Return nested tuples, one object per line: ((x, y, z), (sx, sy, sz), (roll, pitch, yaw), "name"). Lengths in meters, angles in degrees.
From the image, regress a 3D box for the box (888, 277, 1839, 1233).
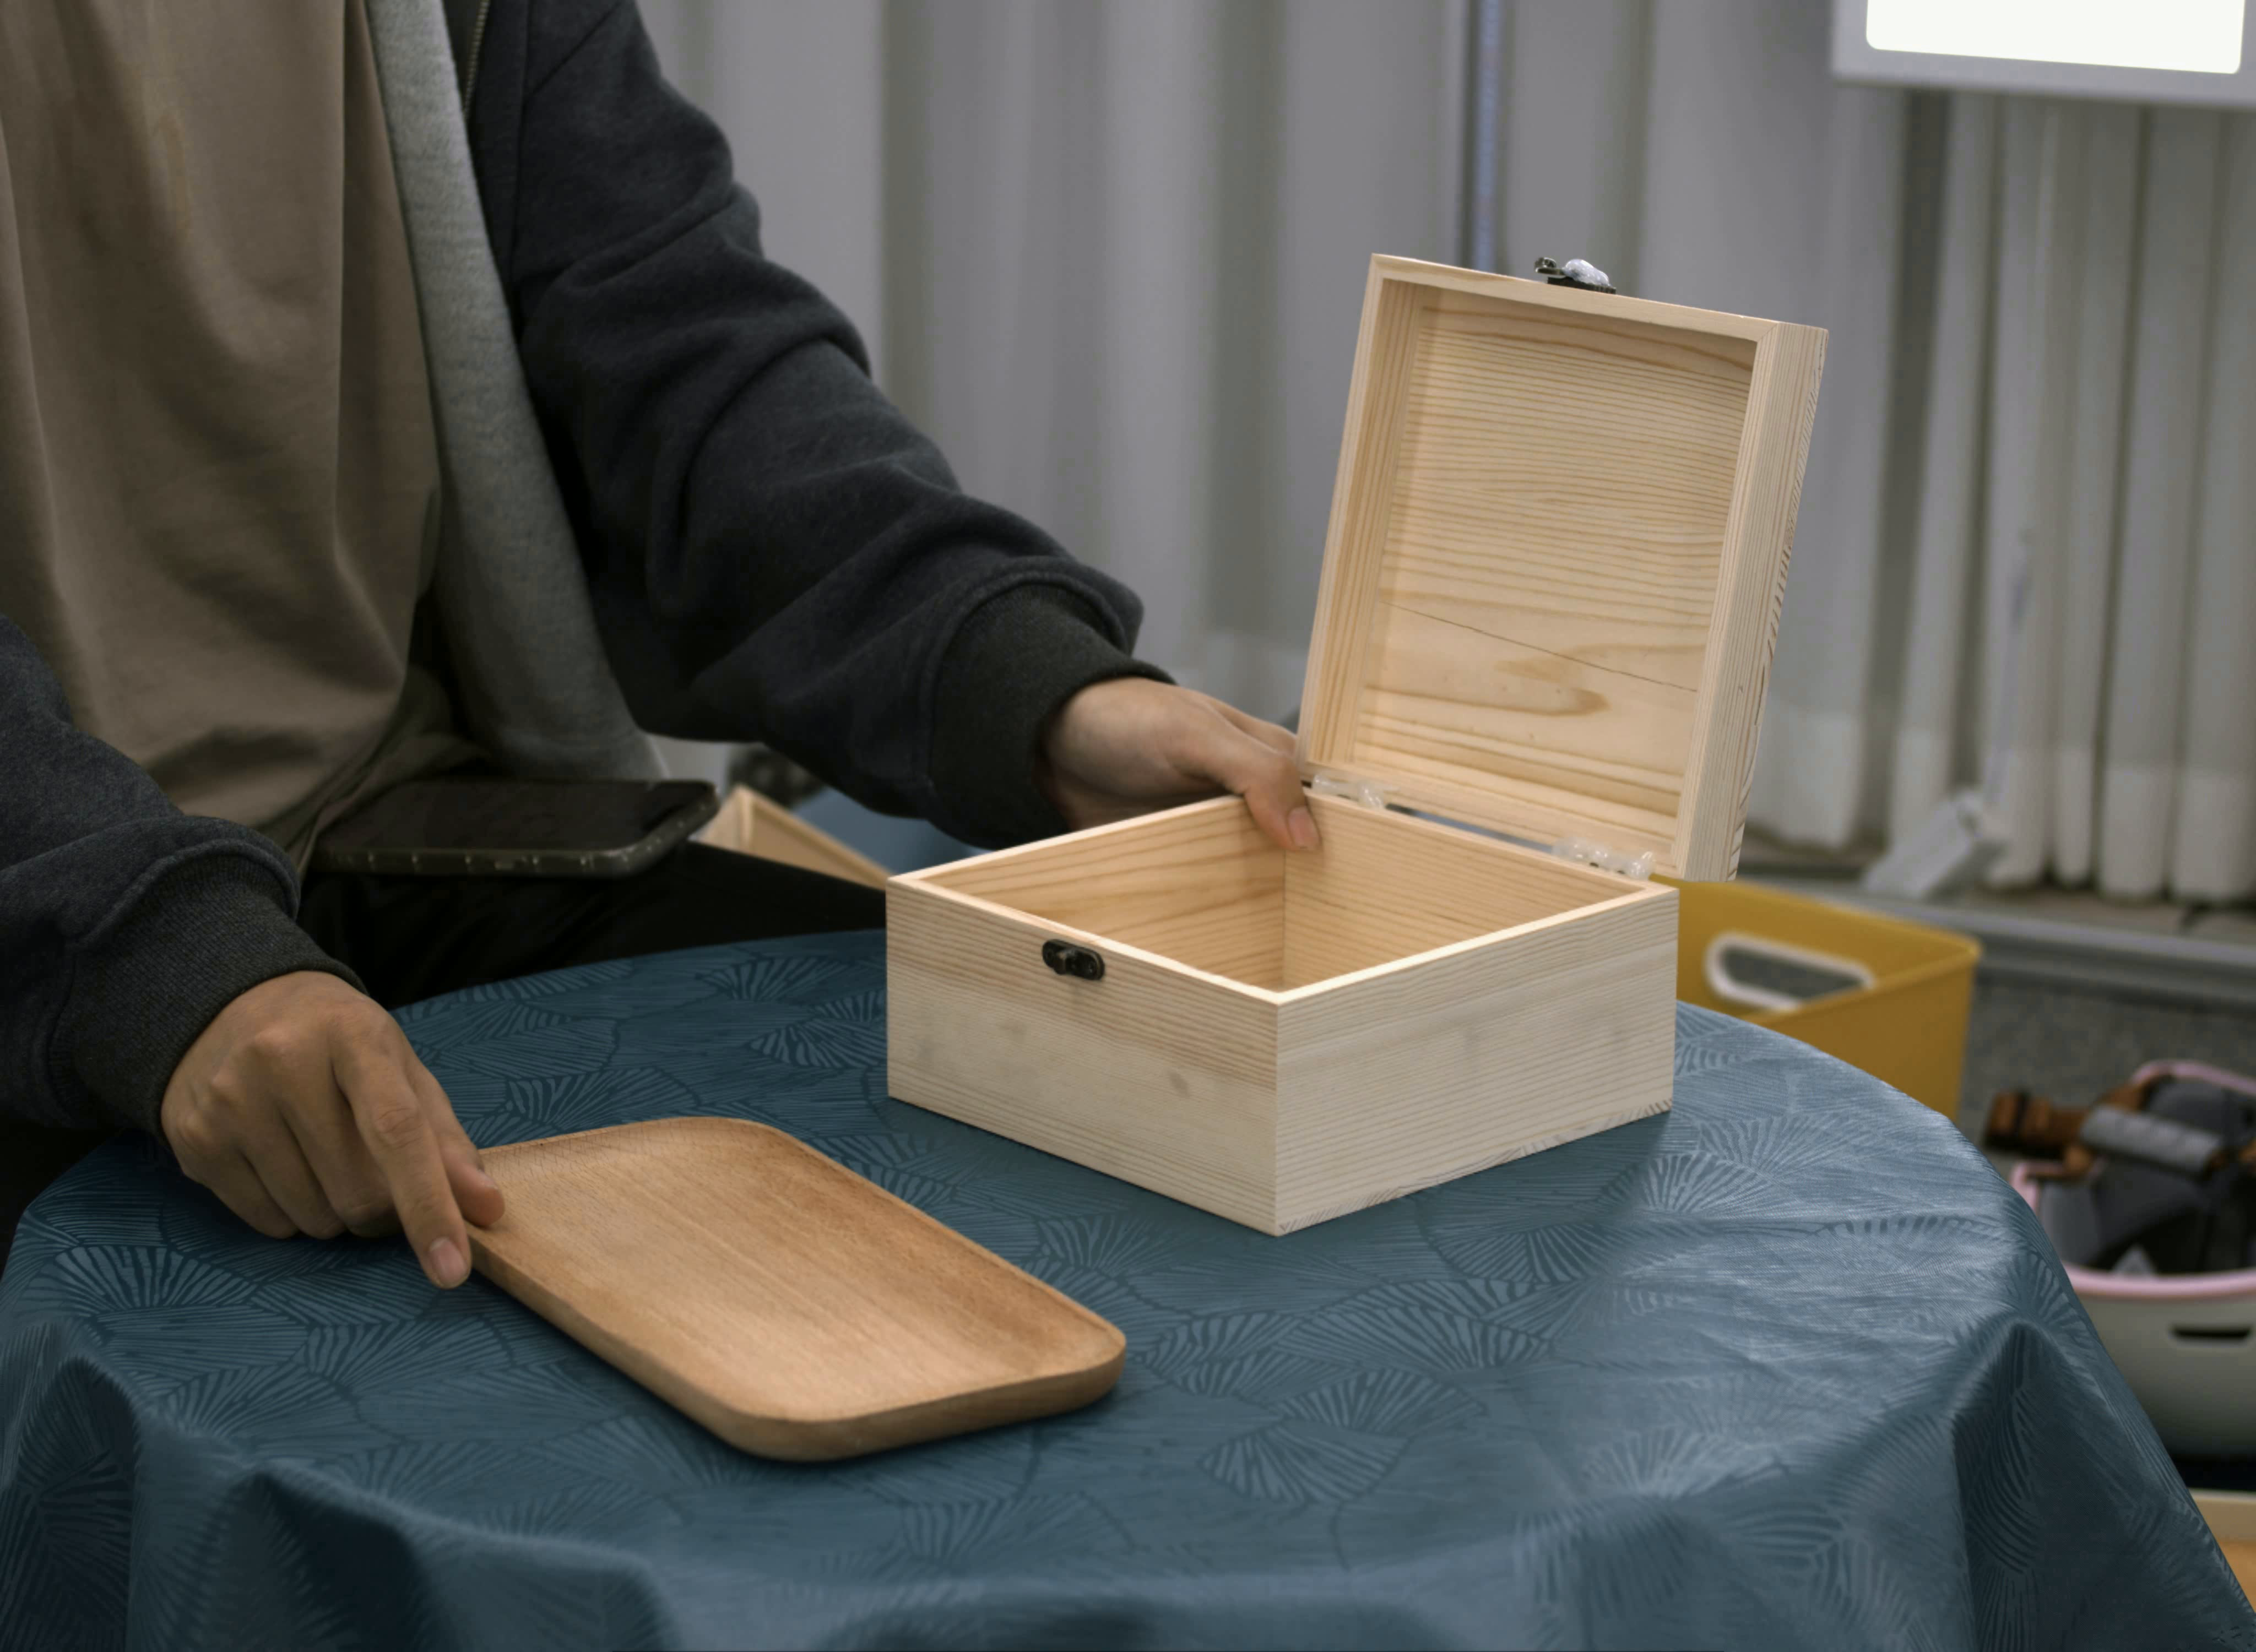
((0.074, -0.034, 1.695), (0.266, 0.255, 0.179), (-13, 18, -43), "box")

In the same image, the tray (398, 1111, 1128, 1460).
((-0.109, 0.129, 1.519), (0.131, 0.023, 0.247), (-4, 16, -32), "tray")
